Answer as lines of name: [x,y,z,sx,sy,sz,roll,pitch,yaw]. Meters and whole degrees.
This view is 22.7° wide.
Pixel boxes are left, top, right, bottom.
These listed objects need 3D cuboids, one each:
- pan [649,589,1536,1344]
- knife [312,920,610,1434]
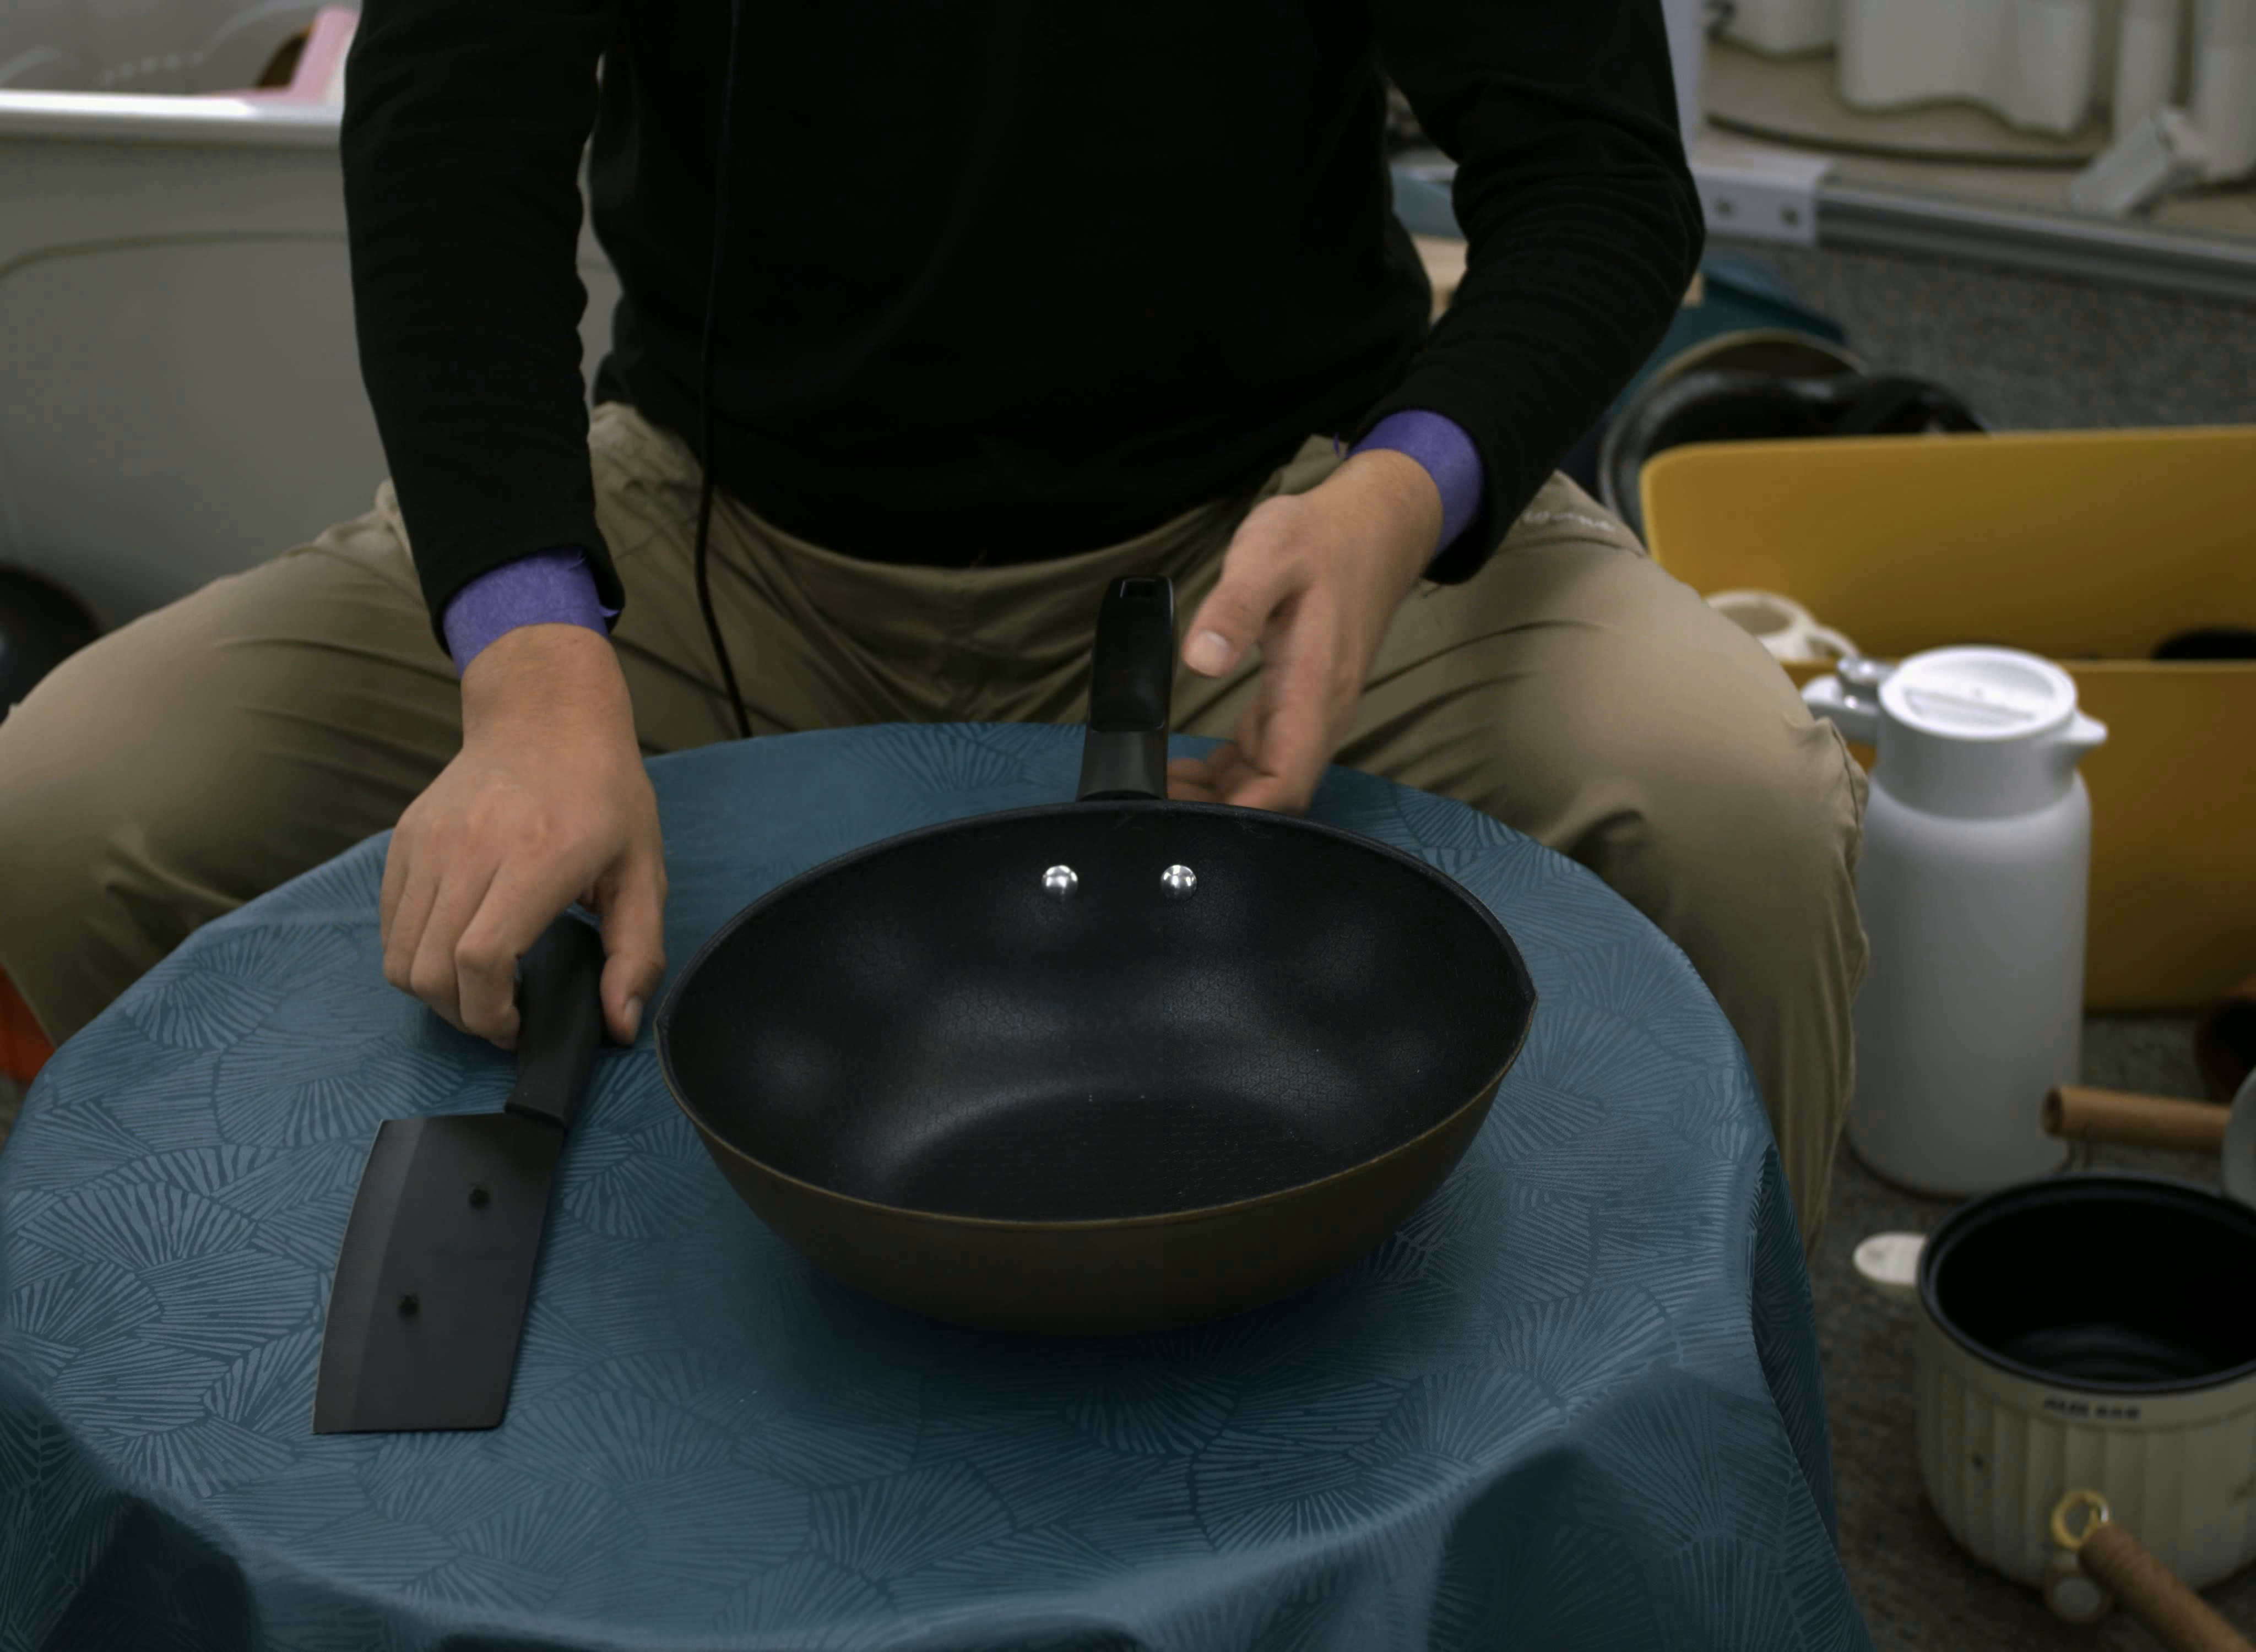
pan: [-0.005,0.049,1.911,0.286,0.086,0.470,-1,27,4]
knife: [-0.218,0.115,1.879,0.080,0.020,0.307,0,29,7]
